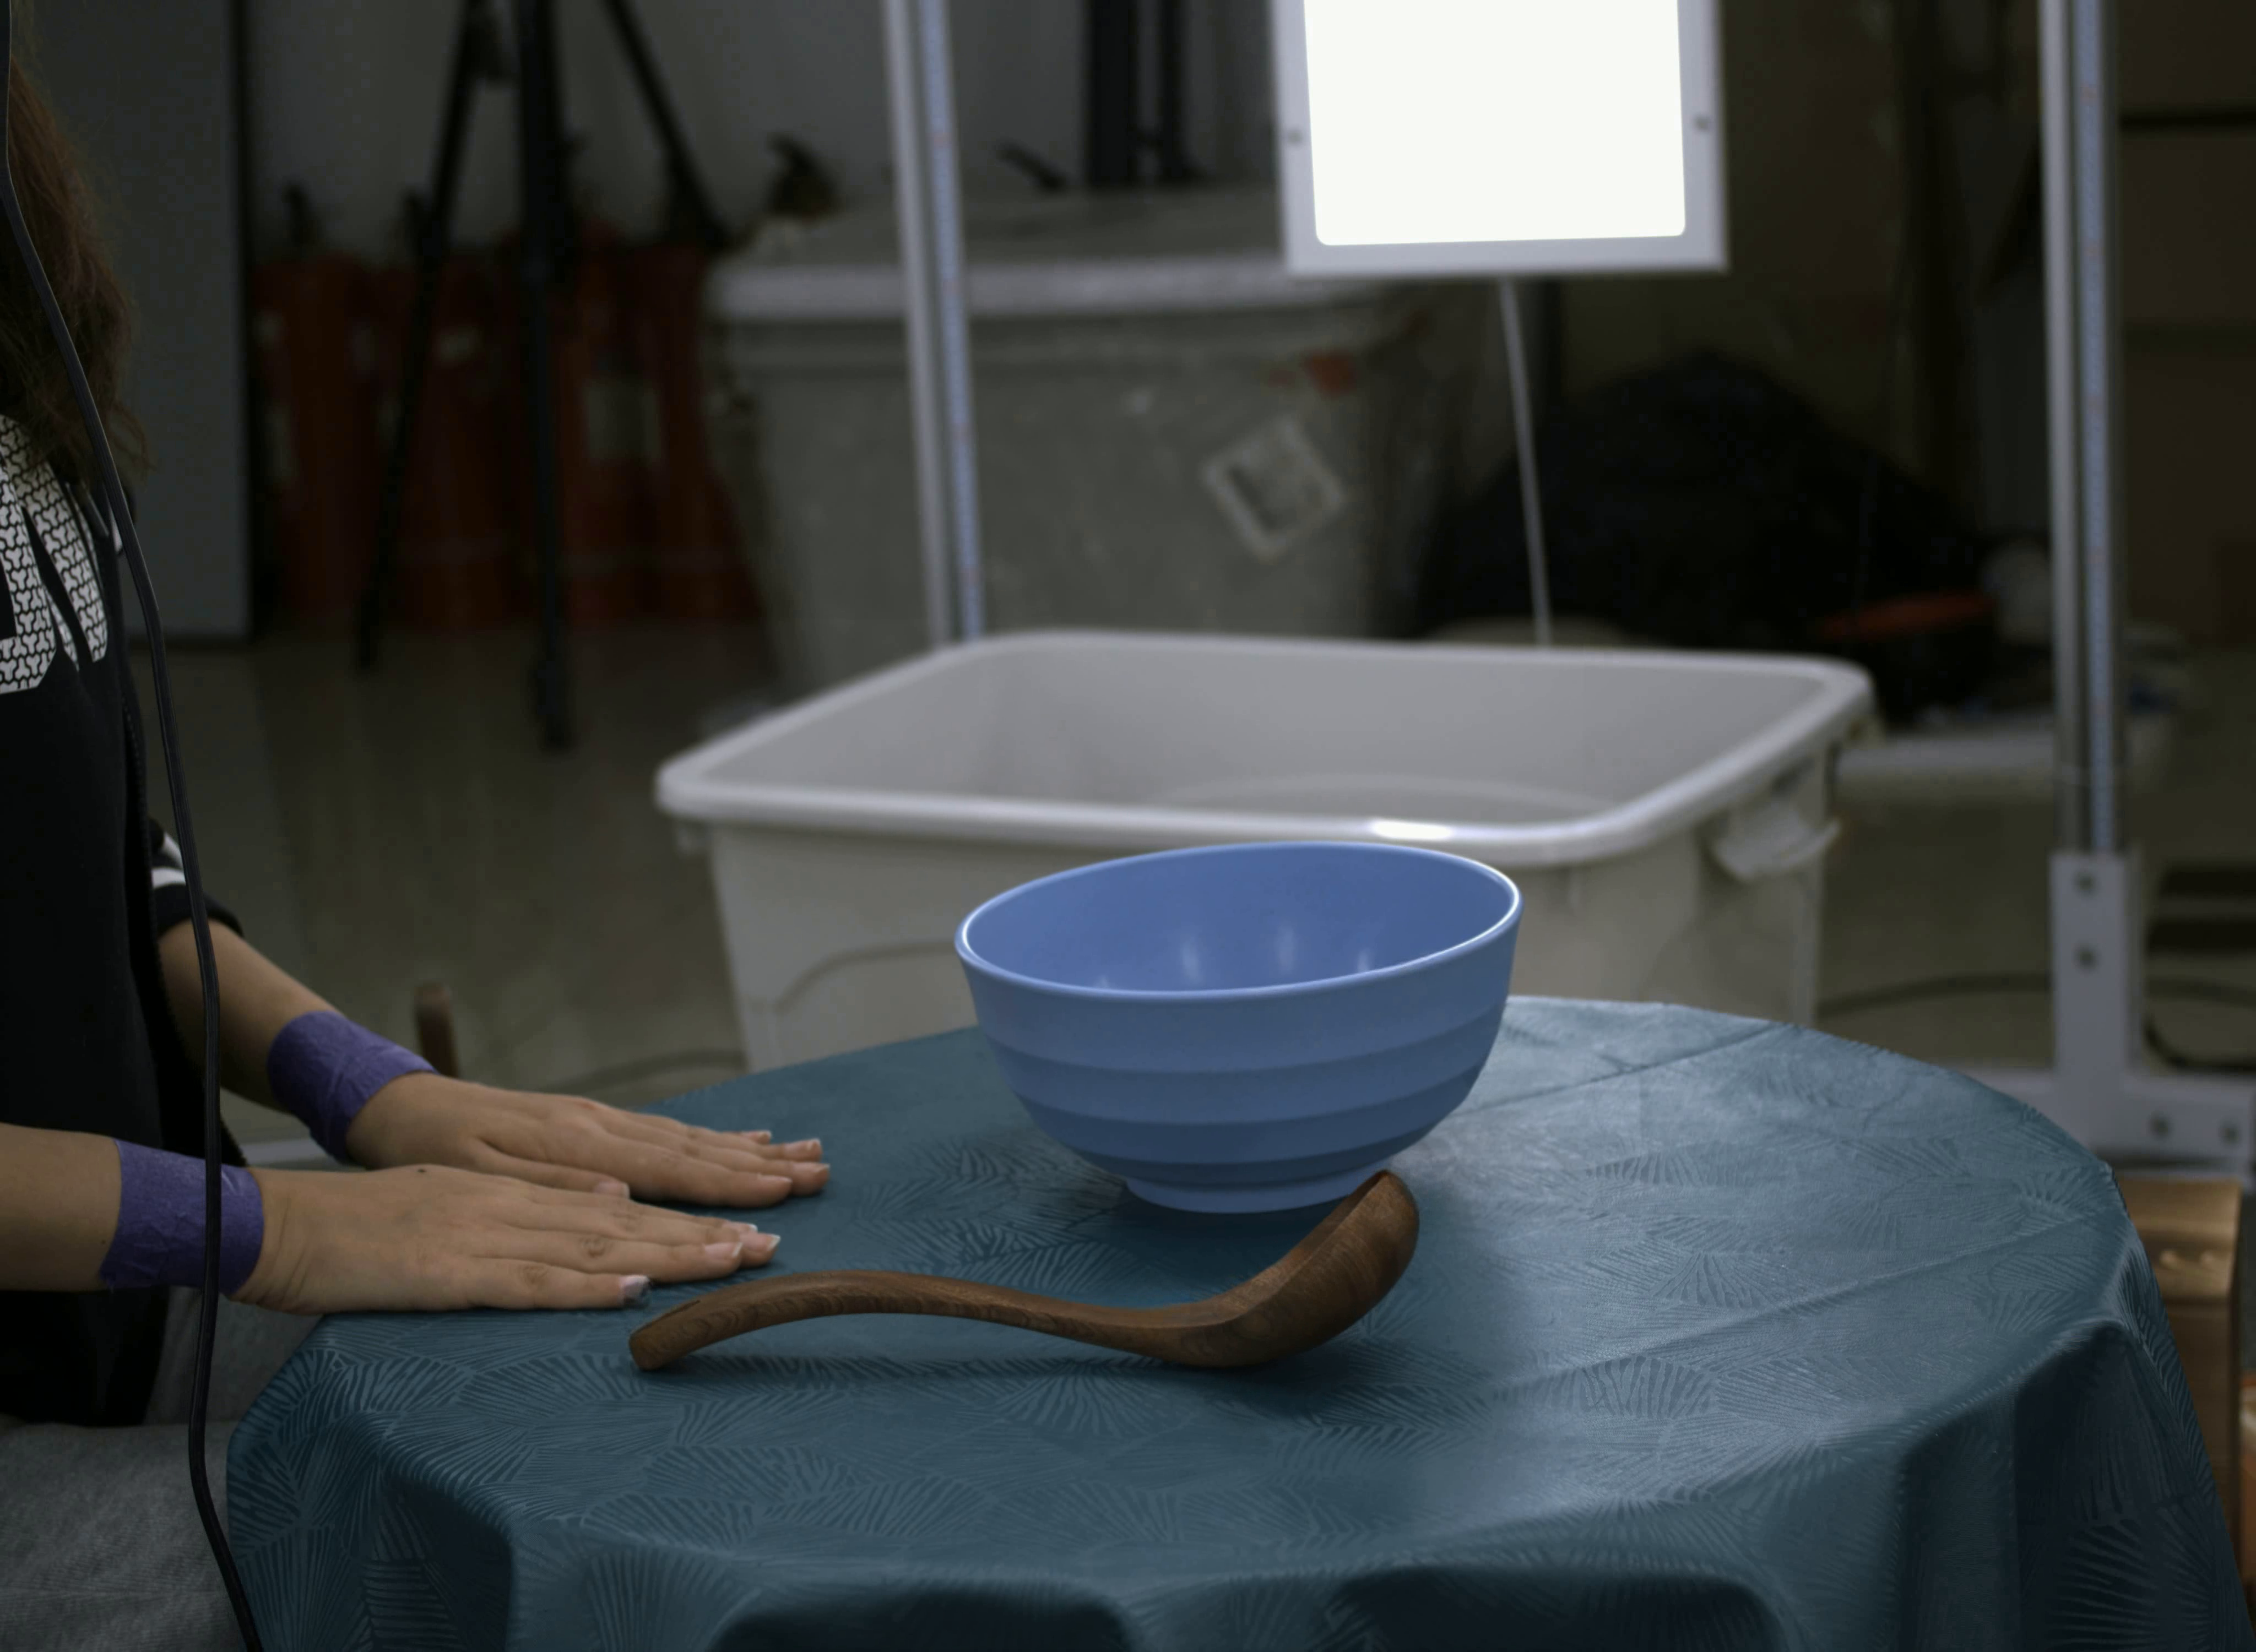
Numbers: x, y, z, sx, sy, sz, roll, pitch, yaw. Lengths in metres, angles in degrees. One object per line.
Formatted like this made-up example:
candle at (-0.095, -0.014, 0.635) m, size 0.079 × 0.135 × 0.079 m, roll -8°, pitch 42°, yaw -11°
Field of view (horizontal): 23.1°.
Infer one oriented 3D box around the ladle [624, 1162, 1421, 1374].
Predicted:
ladle at (-0.035, 0.139, 1.729) m, size 0.263 × 0.065 × 0.075 m, roll -1°, pitch 8°, yaw 16°

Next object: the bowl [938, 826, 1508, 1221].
bowl at (0.034, 0.075, 1.900) m, size 0.196 × 0.096 × 0.196 m, roll -3°, pitch 19°, yaw 0°
